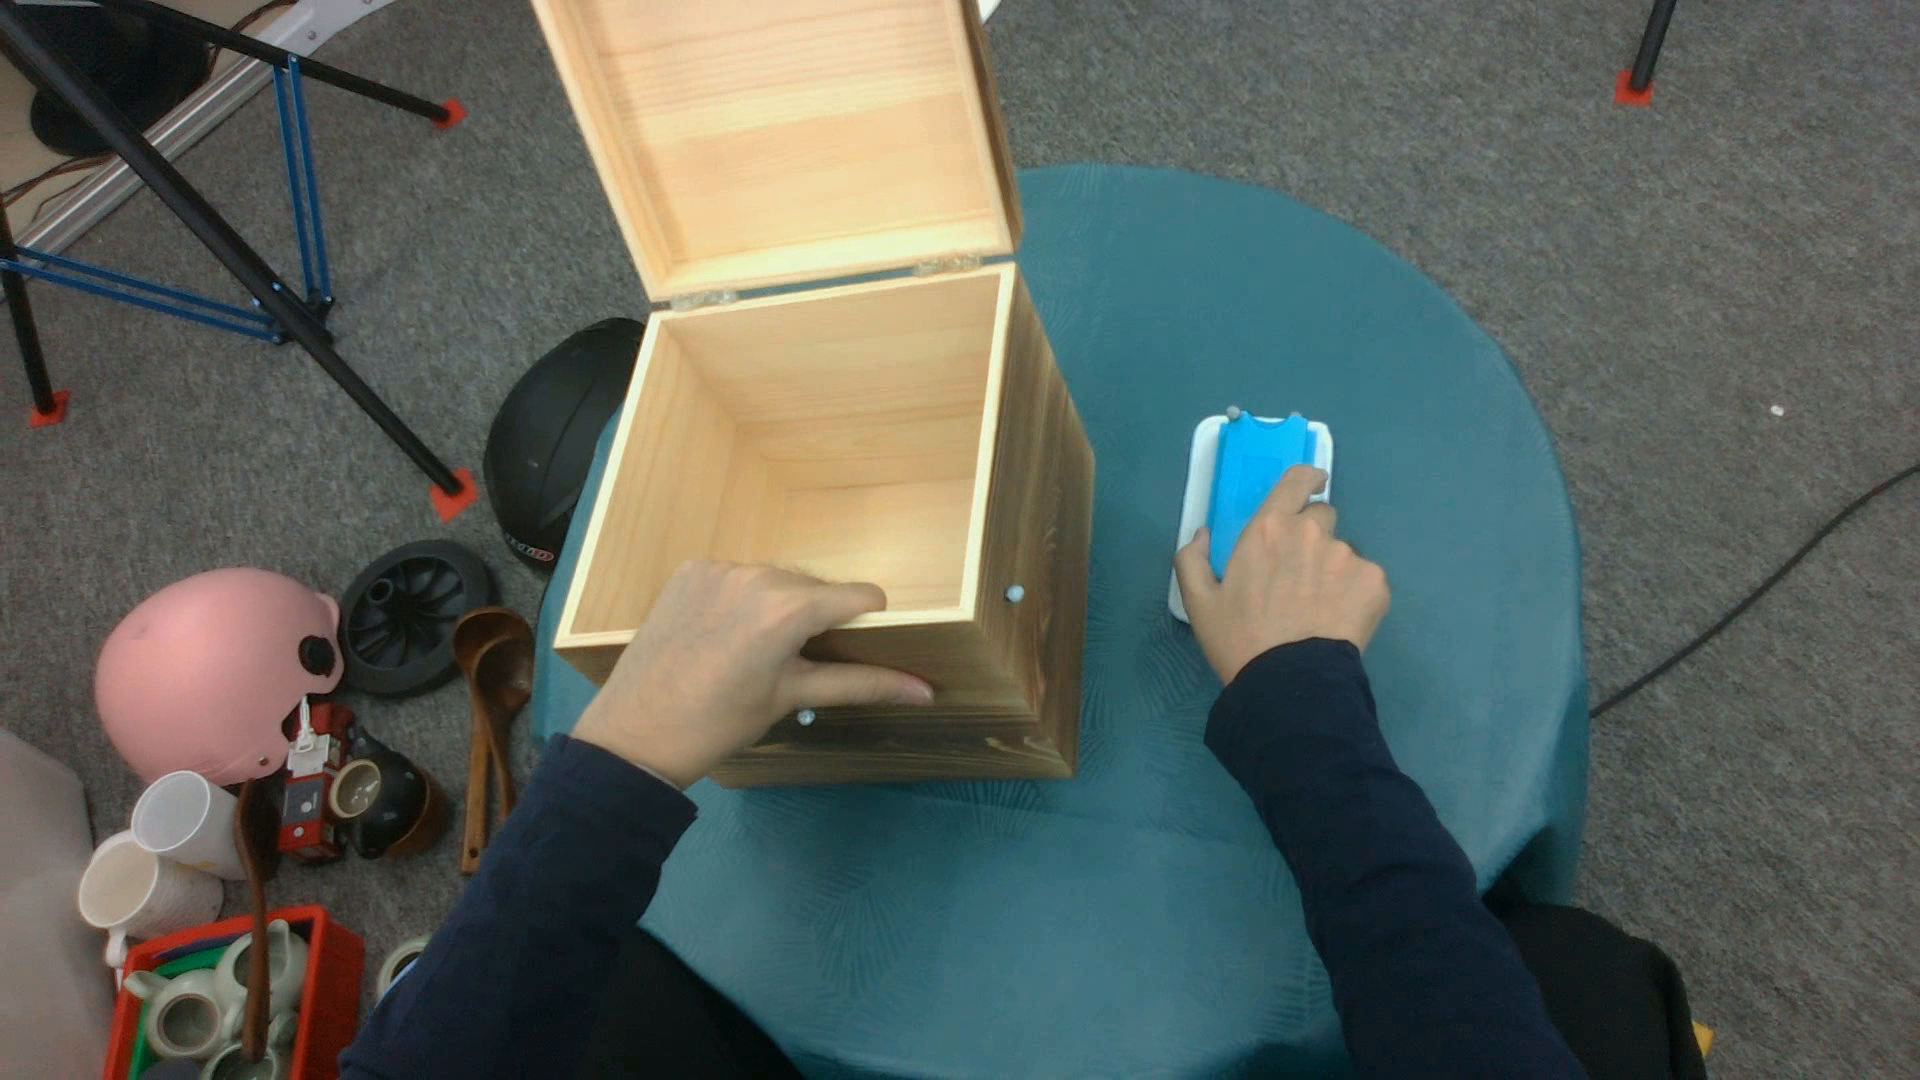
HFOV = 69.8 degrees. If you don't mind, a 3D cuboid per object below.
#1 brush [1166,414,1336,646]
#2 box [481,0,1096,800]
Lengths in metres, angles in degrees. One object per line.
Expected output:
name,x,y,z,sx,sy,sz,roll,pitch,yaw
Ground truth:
brush,0.163,-0.013,0.769,0.084,0.056,0.144,5,61,18
box,-0.082,-0.087,0.673,0.208,0.374,0.323,-7,56,20
